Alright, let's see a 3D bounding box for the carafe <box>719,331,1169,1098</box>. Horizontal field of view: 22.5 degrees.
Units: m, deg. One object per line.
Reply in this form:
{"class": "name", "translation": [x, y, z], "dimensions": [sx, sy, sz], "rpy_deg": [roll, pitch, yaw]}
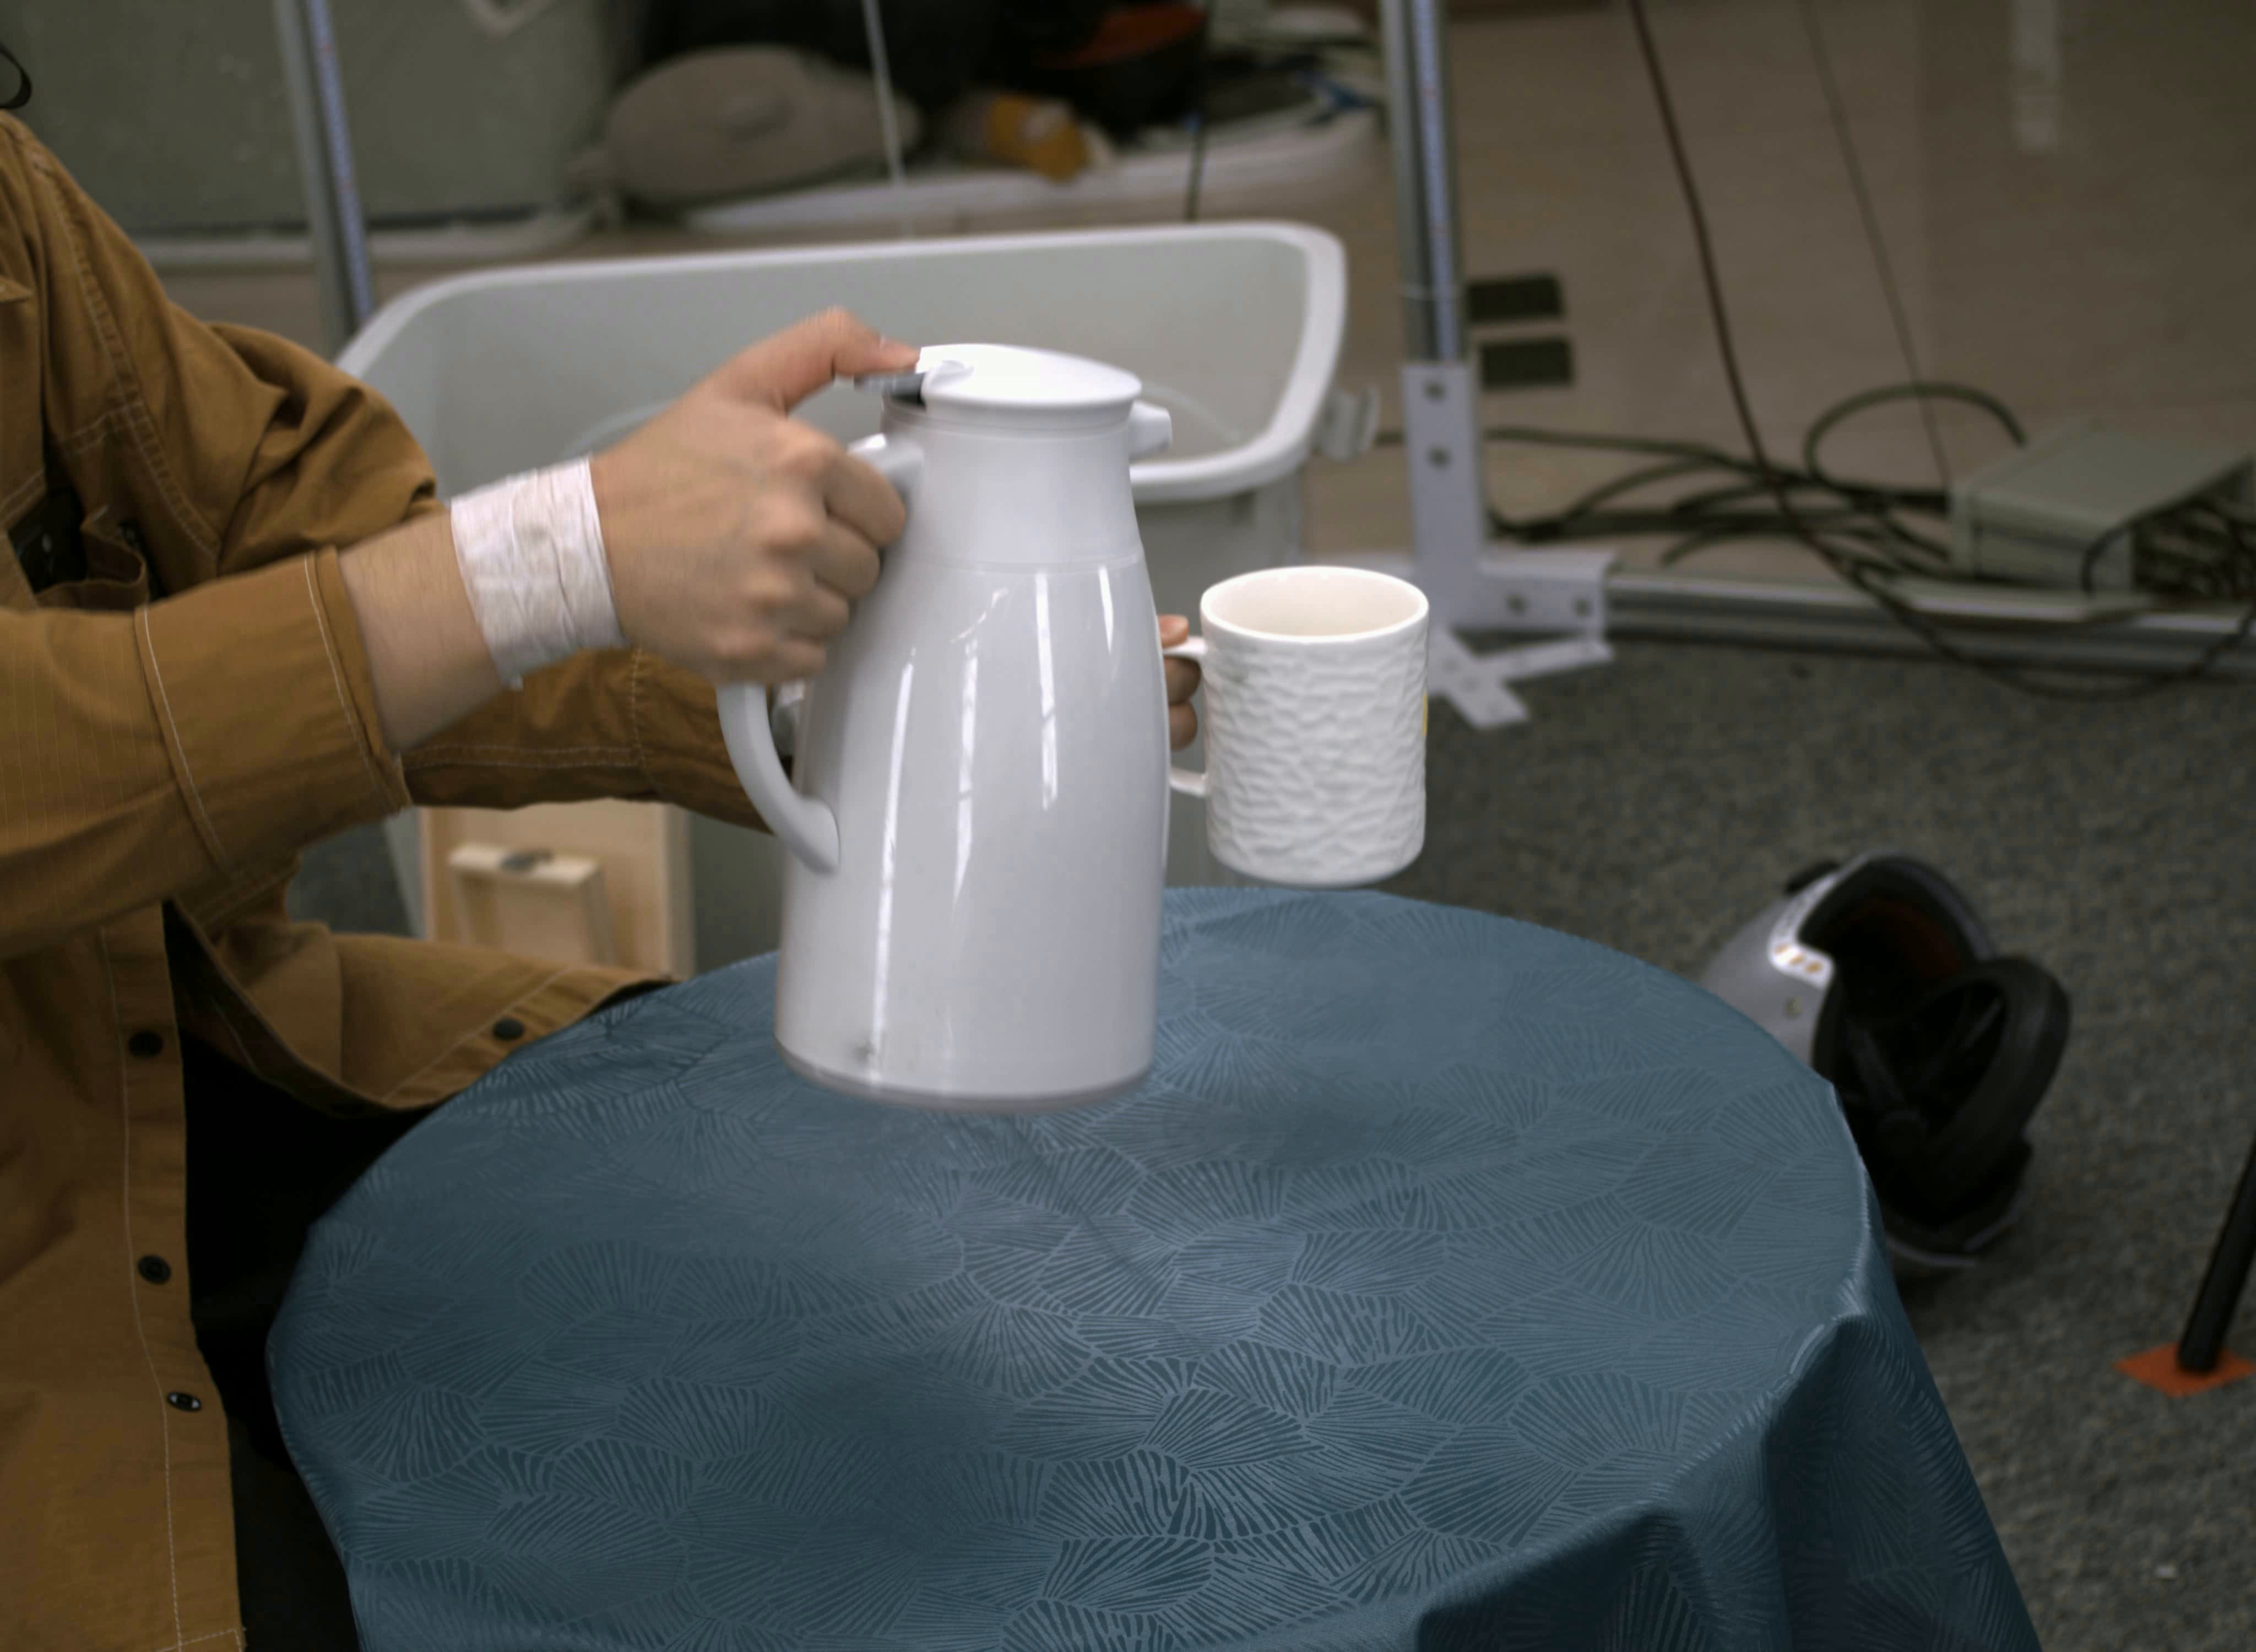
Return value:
{"class": "carafe", "translation": [-0.064, -0.042, 1.920], "dimensions": [0.167, 0.251, 0.131], "rpy_deg": [-7, 20, -36]}

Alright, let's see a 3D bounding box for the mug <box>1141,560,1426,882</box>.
{"class": "mug", "translation": [0.054, -0.040, 2.145], "dimensions": [0.118, 0.103, 0.084], "rpy_deg": [1, 22, 5]}
